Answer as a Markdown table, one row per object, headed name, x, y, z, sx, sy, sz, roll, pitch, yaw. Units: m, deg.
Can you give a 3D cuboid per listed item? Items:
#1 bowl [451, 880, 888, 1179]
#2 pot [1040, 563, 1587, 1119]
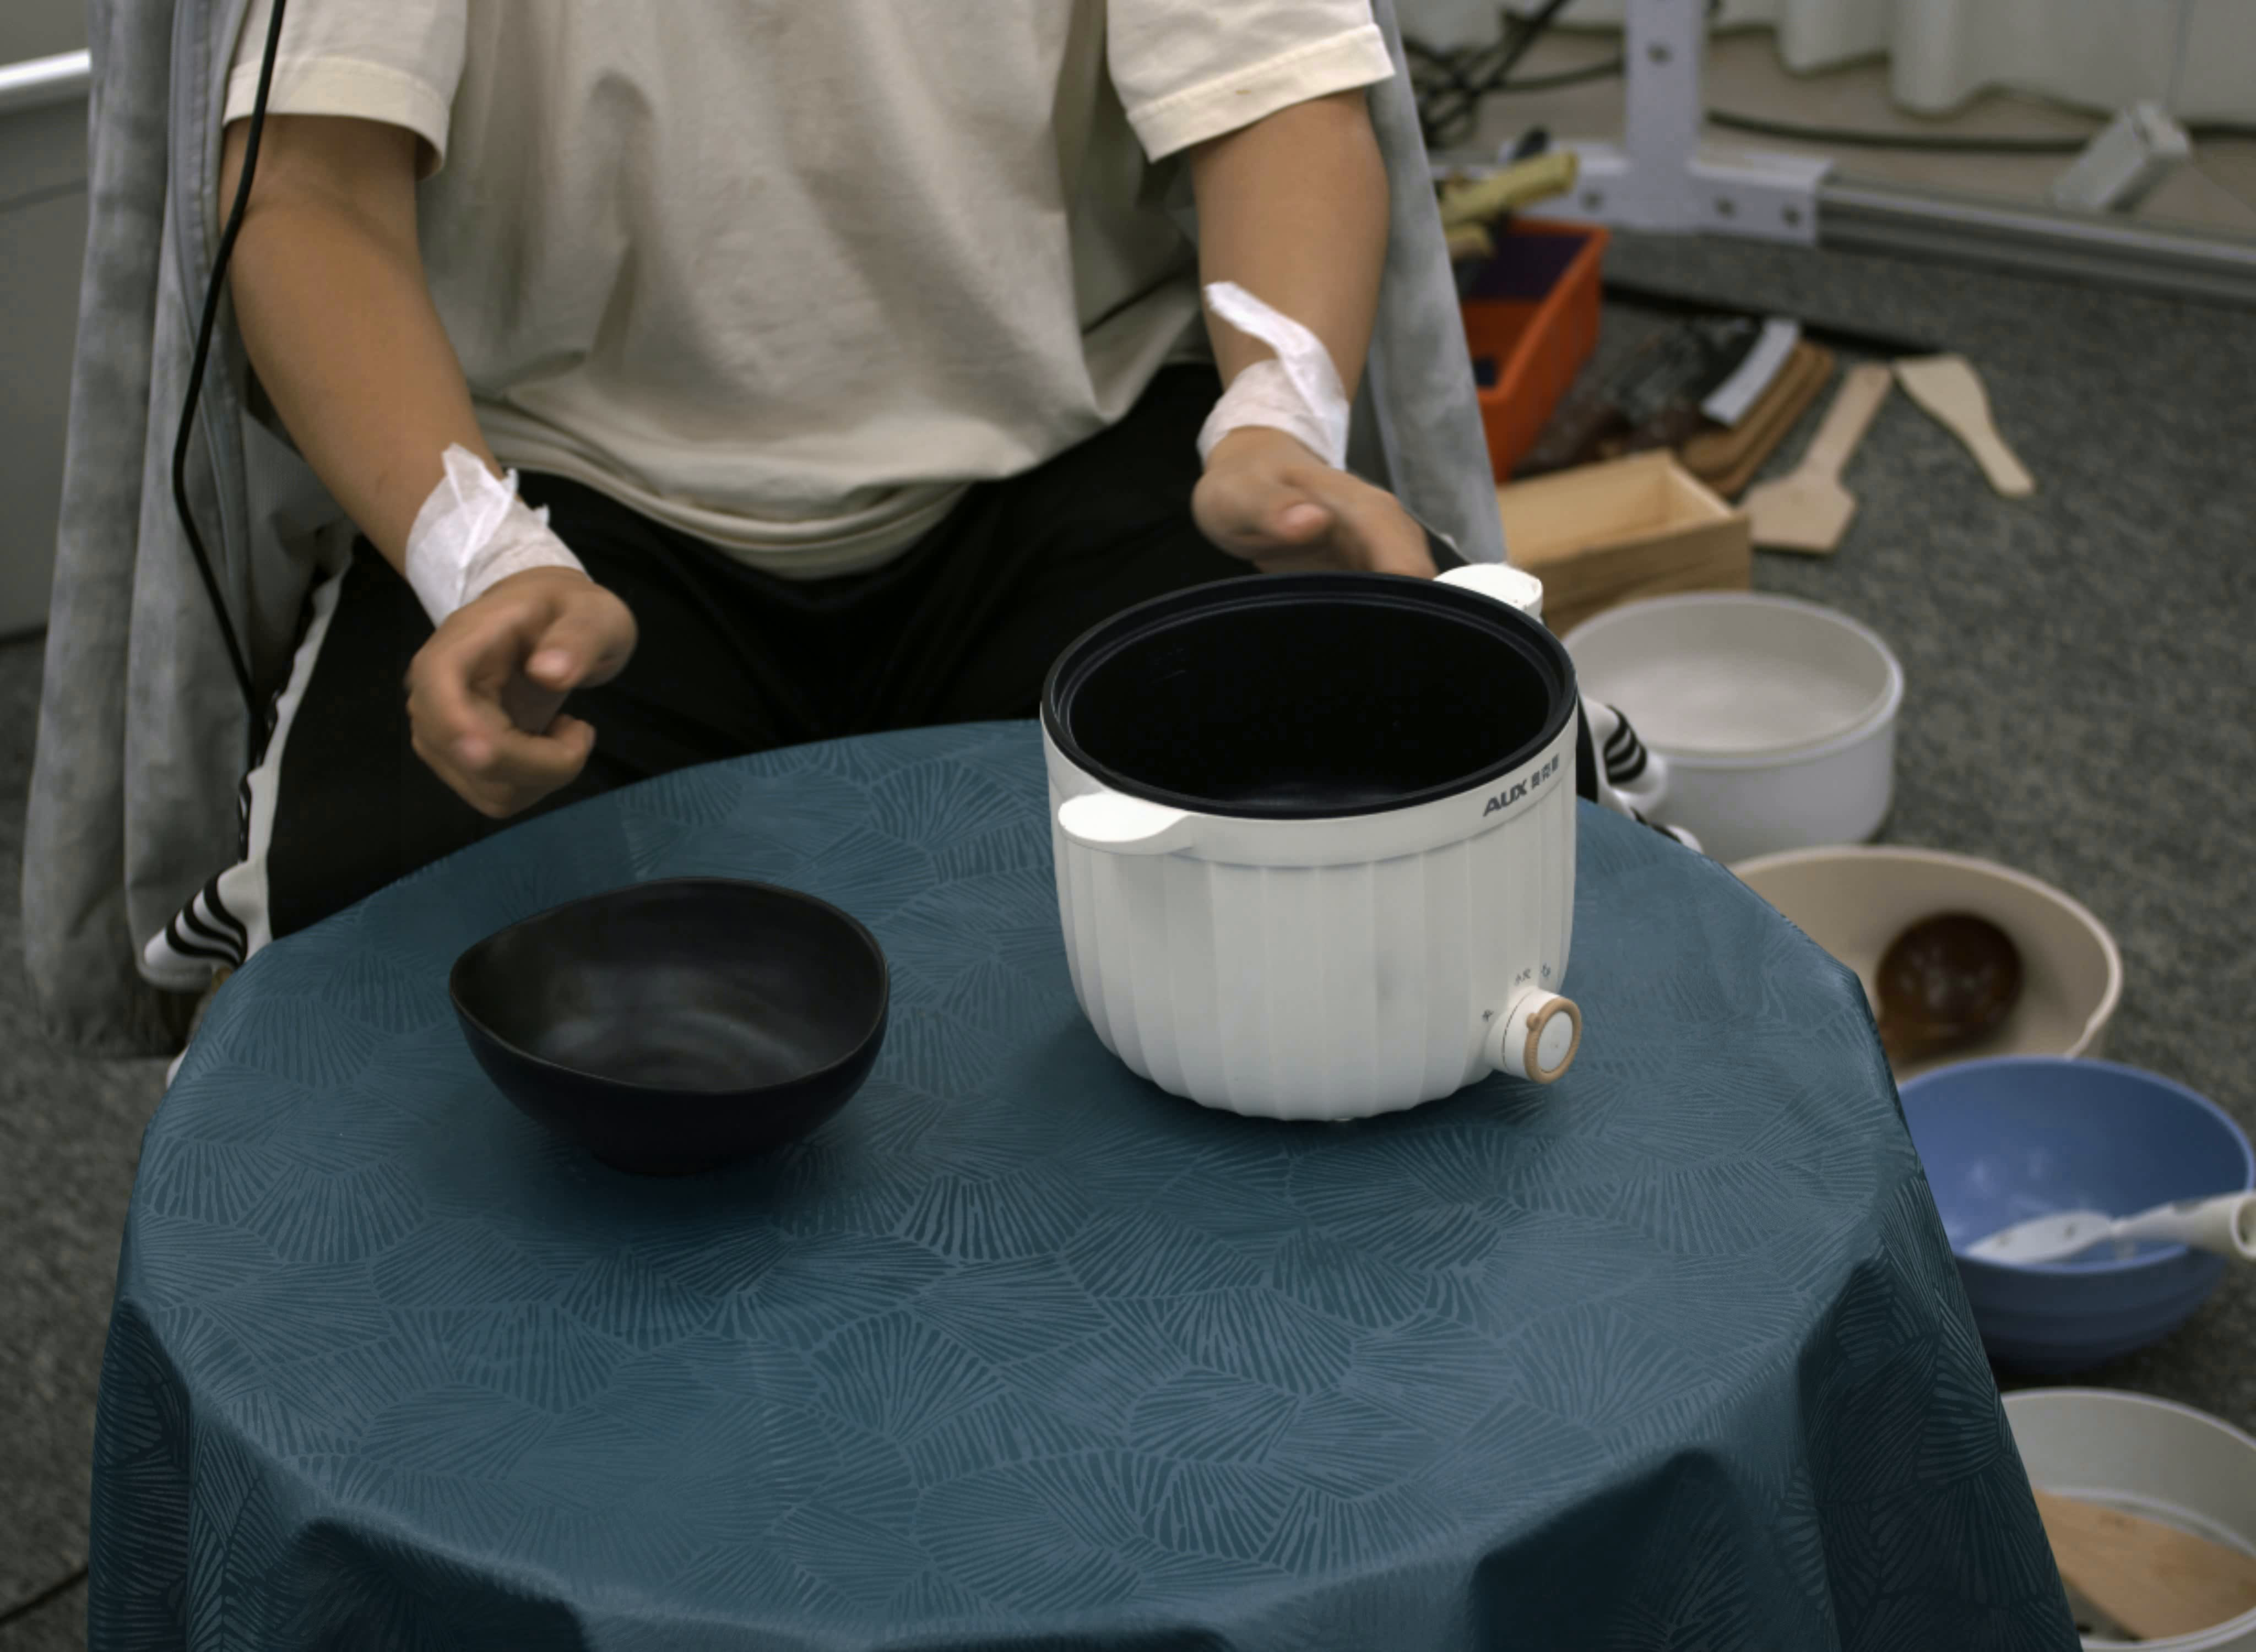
| name | x | y | z | sx | sy | sz | roll | pitch | yaw |
| --- | --- | --- | --- | --- | --- | --- | --- | --- | --- |
| bowl | -0.154 | 0.076 | 1.894 | 0.139 | 0.066 | 0.170 | -24 | 33 | -37 |
| pot | 0.069 | 0.011 | 1.918 | 0.189 | 0.141 | 0.244 | 14 | 32 | 37 |
